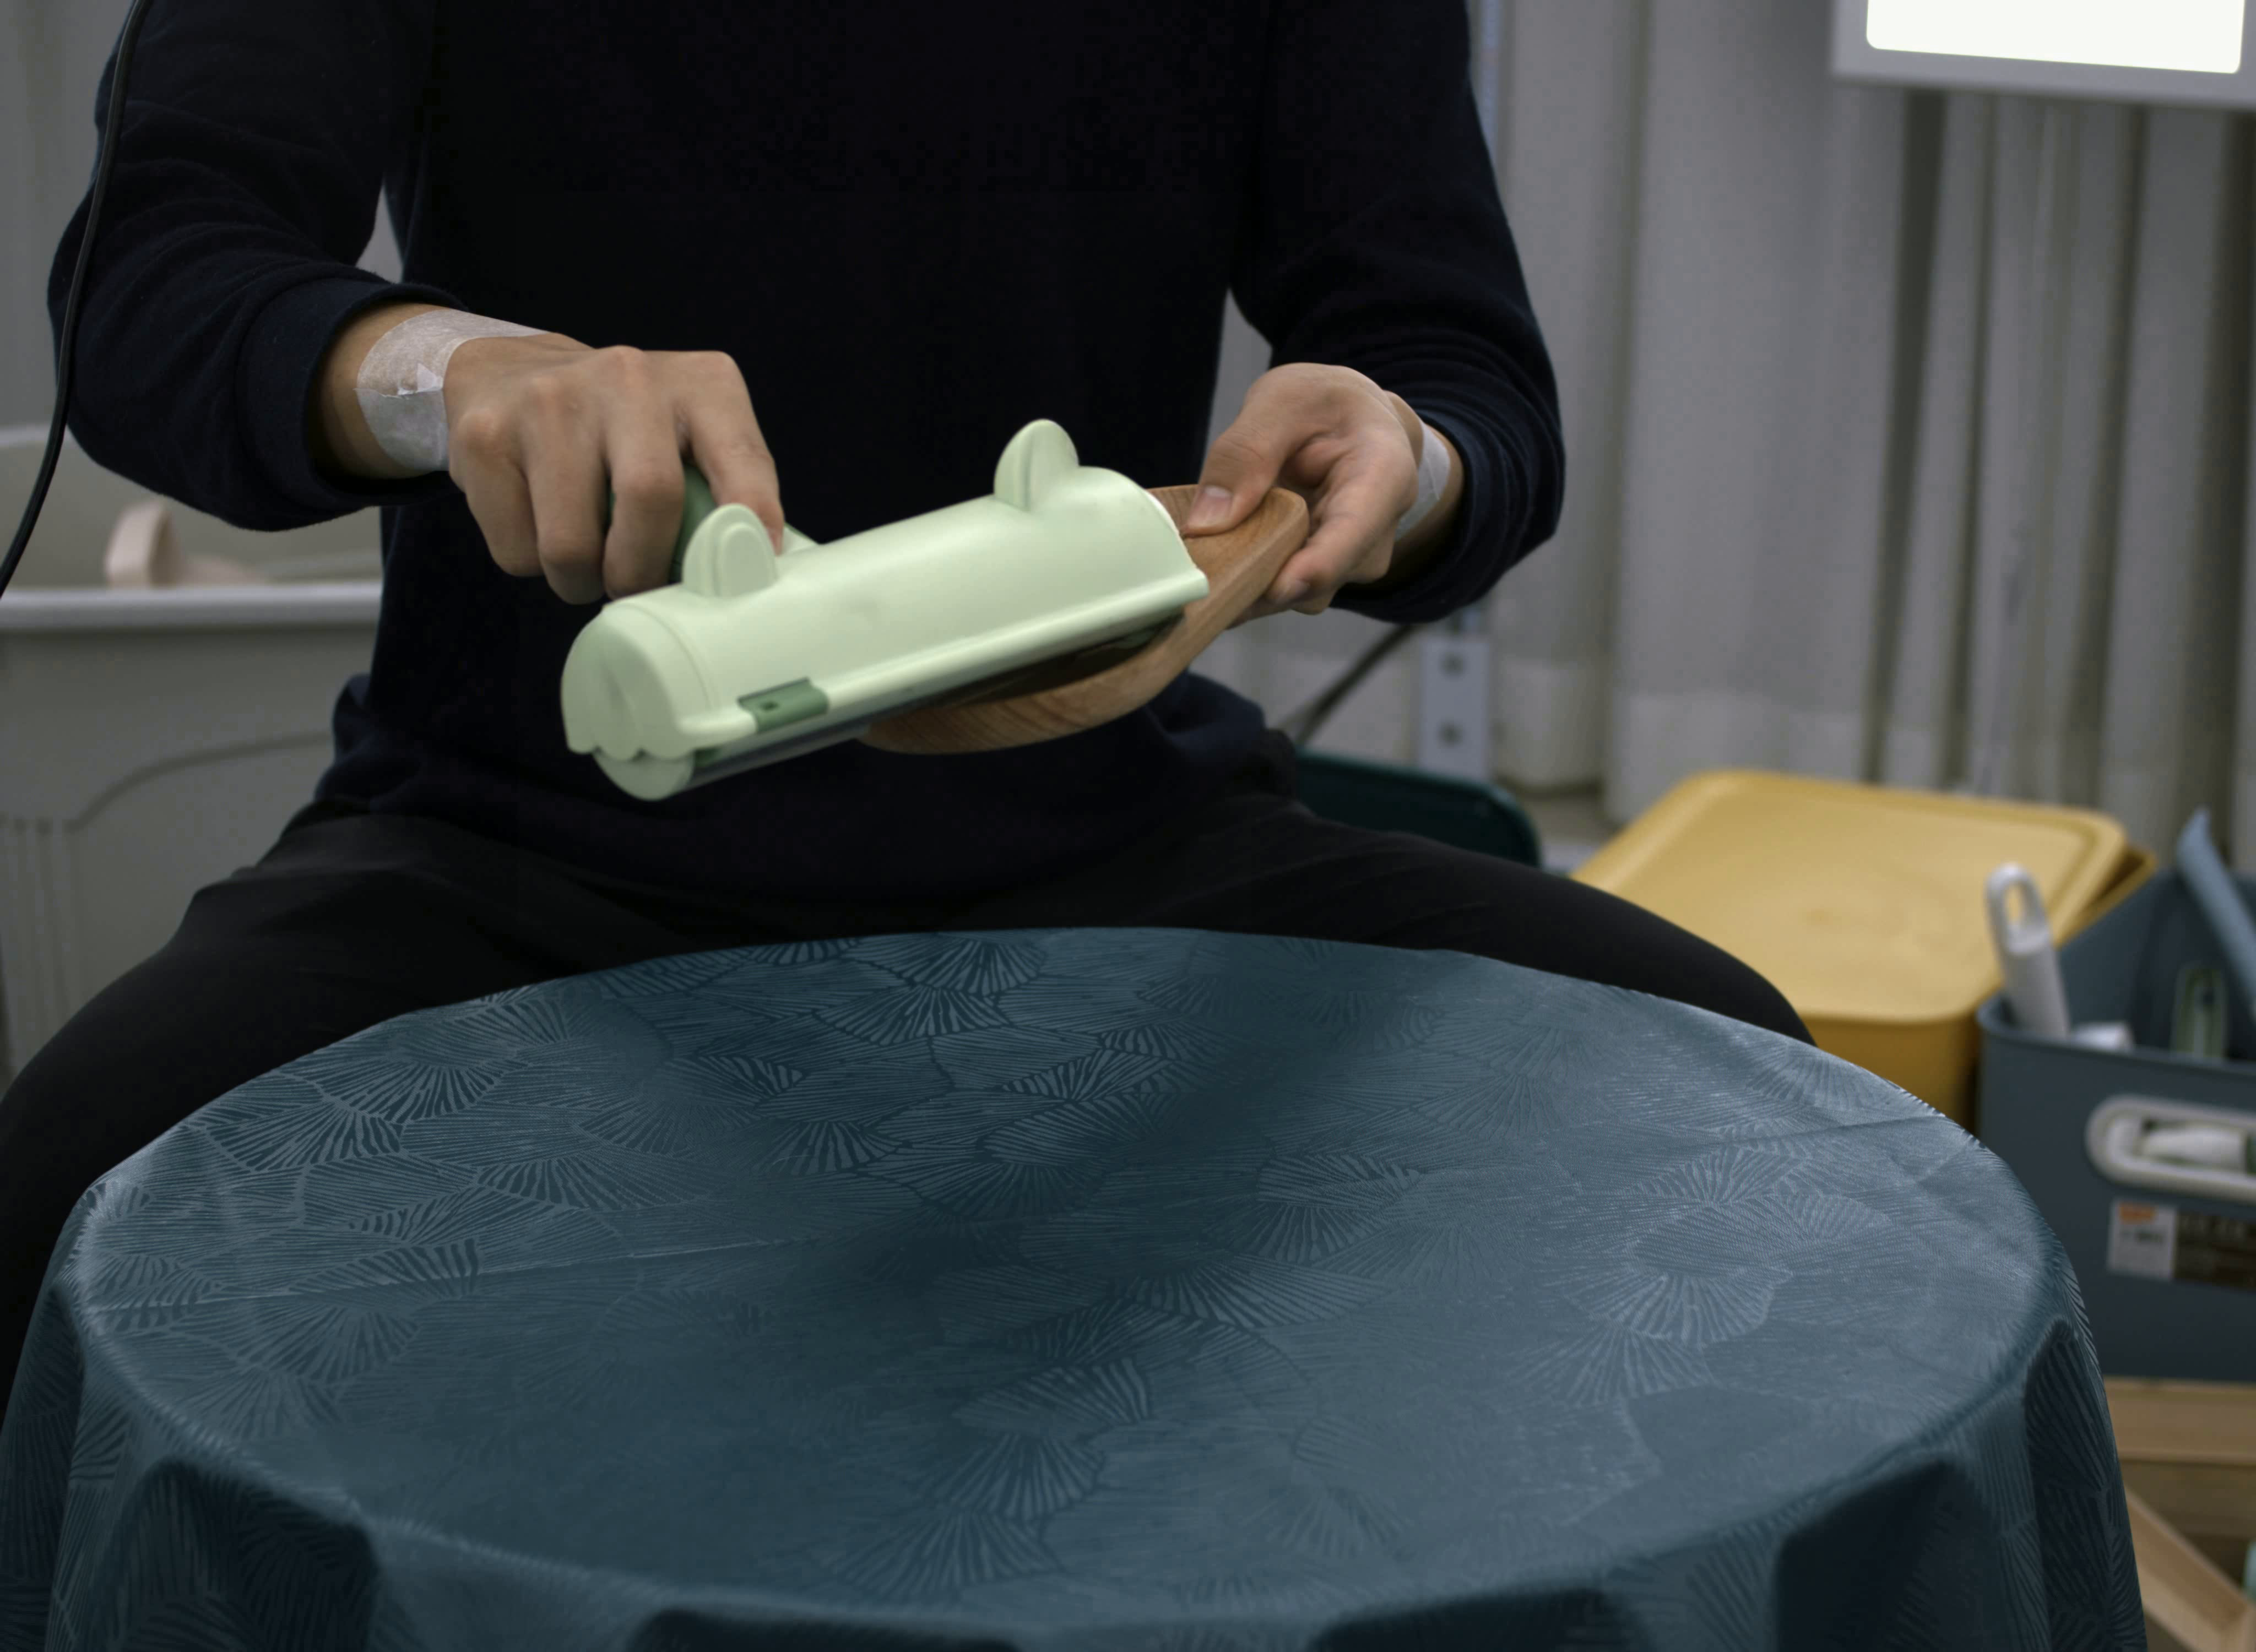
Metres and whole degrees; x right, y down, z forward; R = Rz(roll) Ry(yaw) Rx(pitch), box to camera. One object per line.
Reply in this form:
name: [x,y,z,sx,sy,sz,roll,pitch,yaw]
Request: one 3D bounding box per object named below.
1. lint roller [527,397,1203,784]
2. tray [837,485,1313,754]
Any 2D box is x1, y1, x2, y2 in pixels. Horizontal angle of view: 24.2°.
lint roller: [-0.103,-0.094,1.475,0.199,0.083,0.181,-19,48,-43]
tray: [-0.014,-0.063,1.554,0.101,0.020,0.231,-3,19,20]
